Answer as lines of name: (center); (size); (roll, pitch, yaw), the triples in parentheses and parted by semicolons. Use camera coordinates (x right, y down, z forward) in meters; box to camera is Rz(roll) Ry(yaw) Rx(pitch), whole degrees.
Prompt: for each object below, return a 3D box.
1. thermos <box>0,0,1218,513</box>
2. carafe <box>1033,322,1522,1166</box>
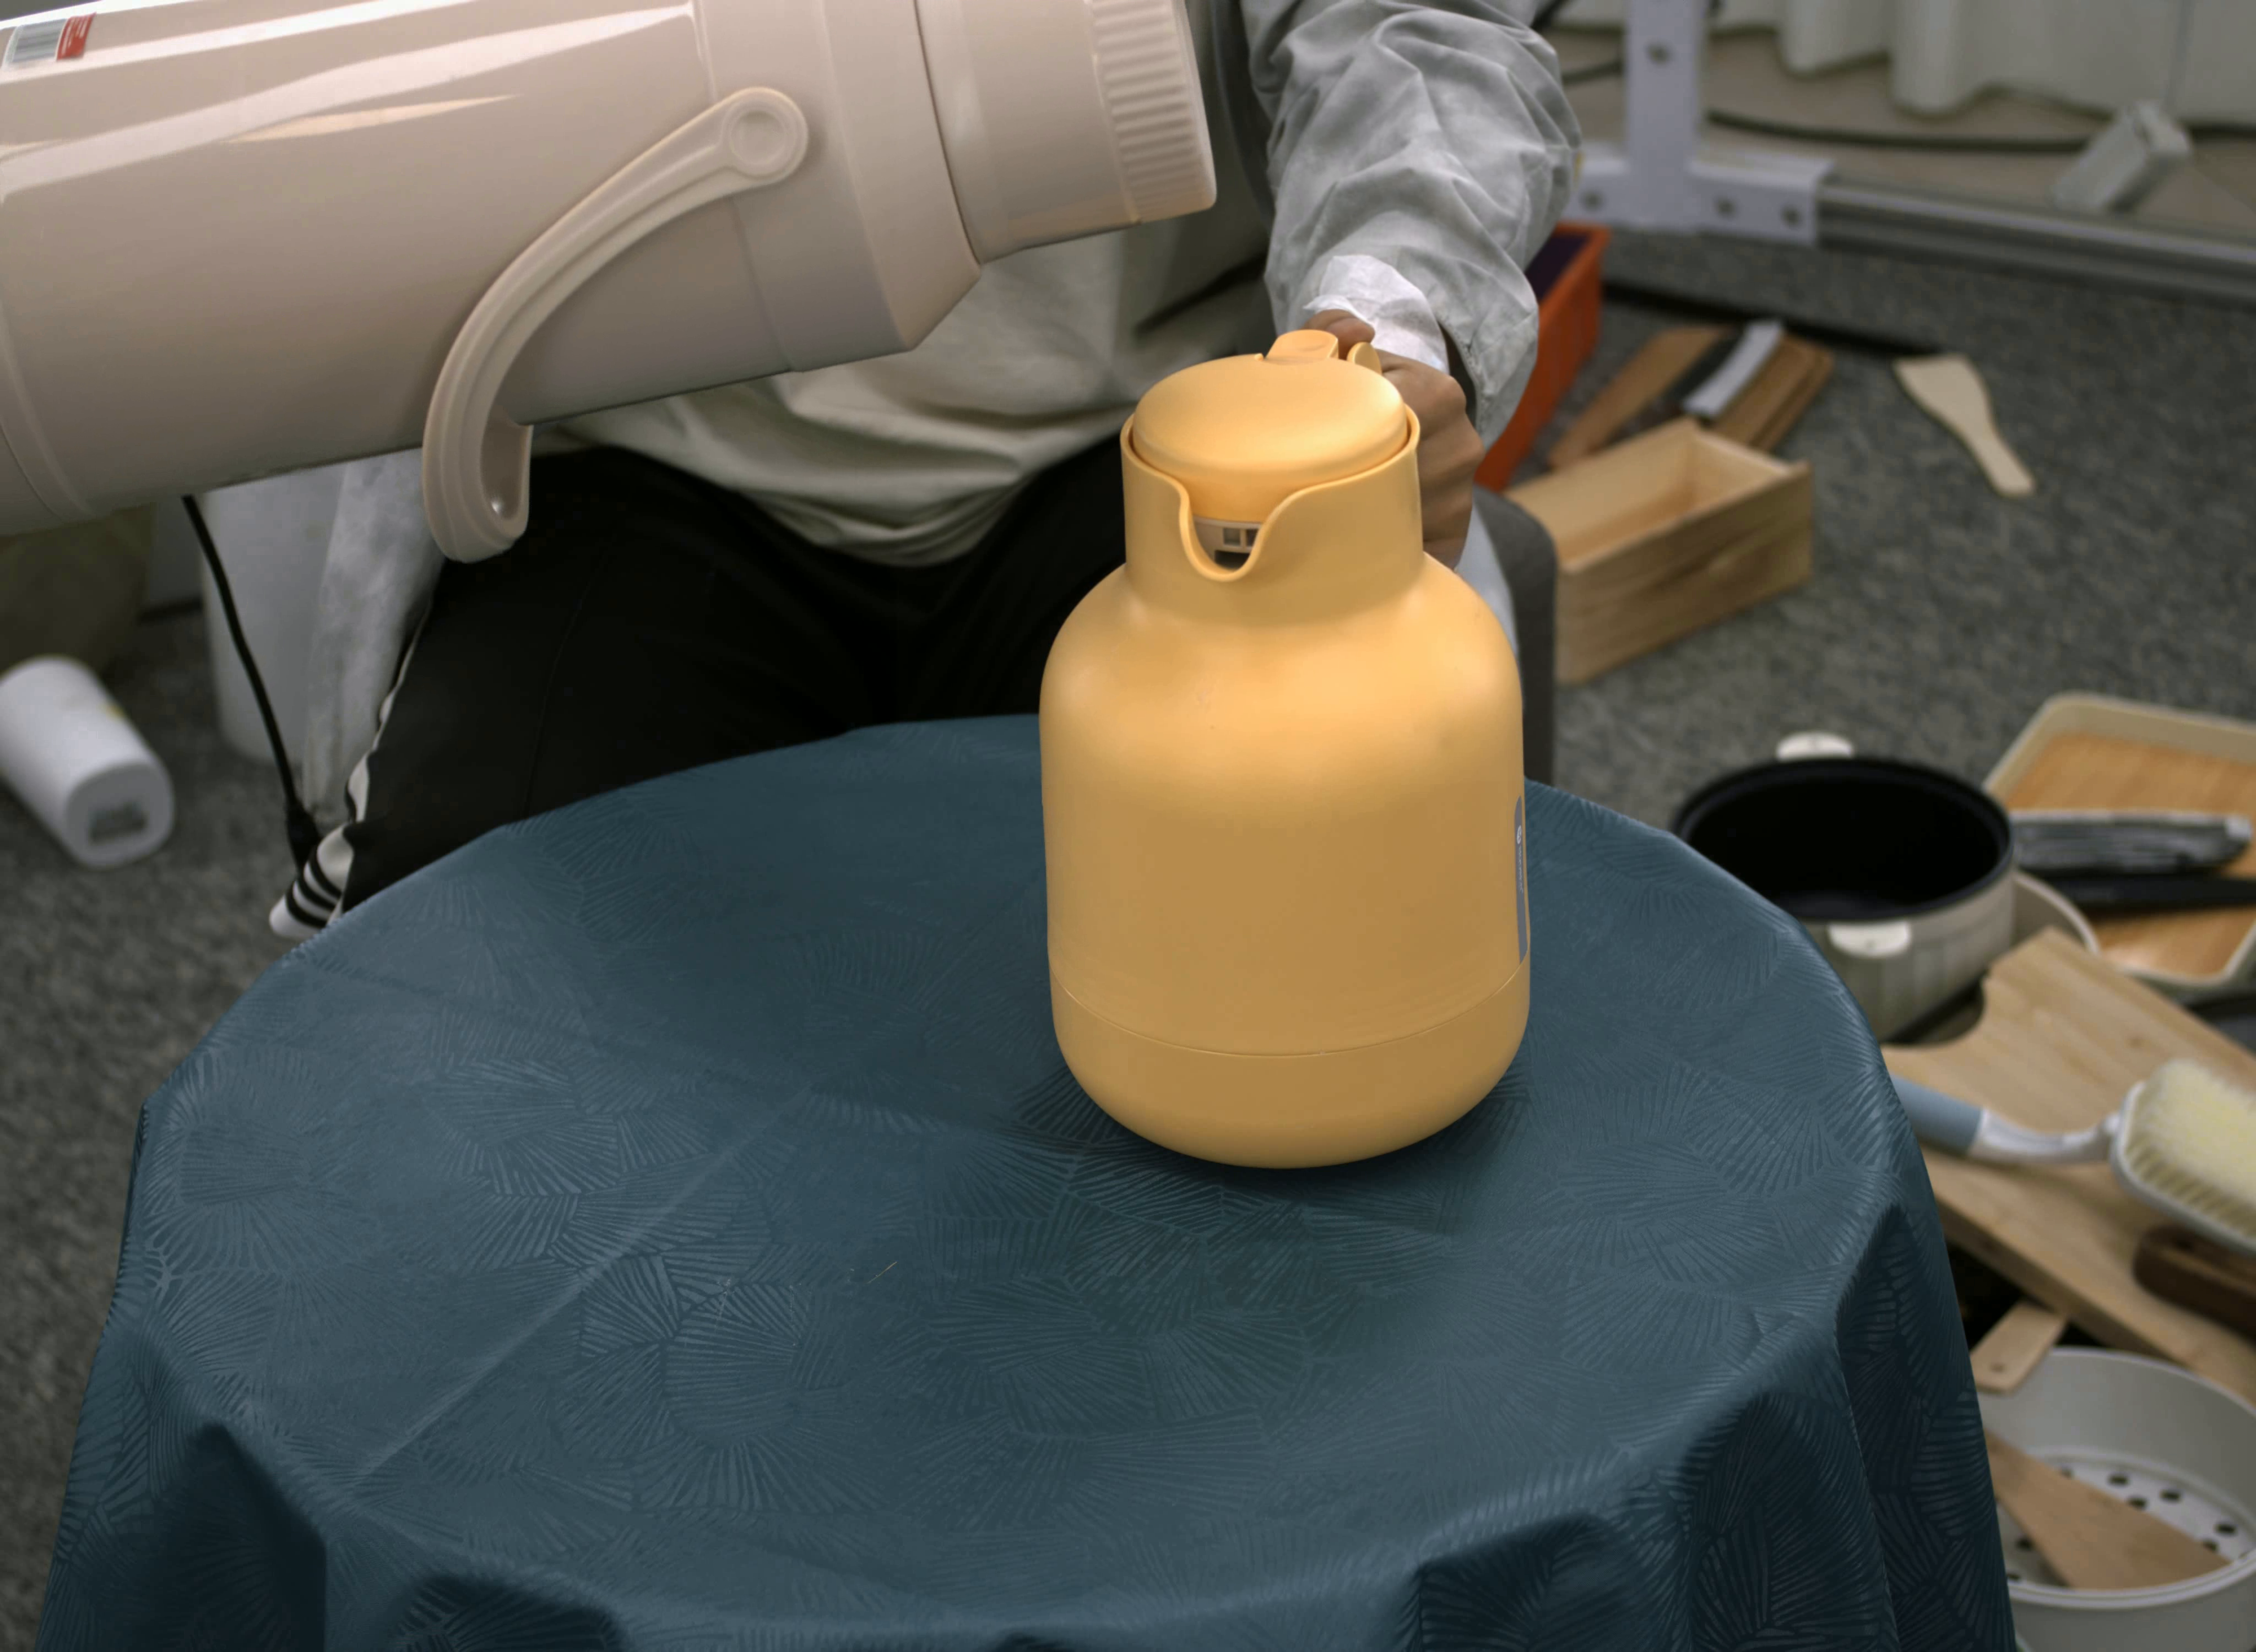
thermos: (-0.181, -0.225, 1.774); (0.404, 0.207, 0.176); (-10, 8, 4)
carafe: (0.055, -0.036, 1.880); (0.162, 0.257, 0.206); (7, 29, 14)
